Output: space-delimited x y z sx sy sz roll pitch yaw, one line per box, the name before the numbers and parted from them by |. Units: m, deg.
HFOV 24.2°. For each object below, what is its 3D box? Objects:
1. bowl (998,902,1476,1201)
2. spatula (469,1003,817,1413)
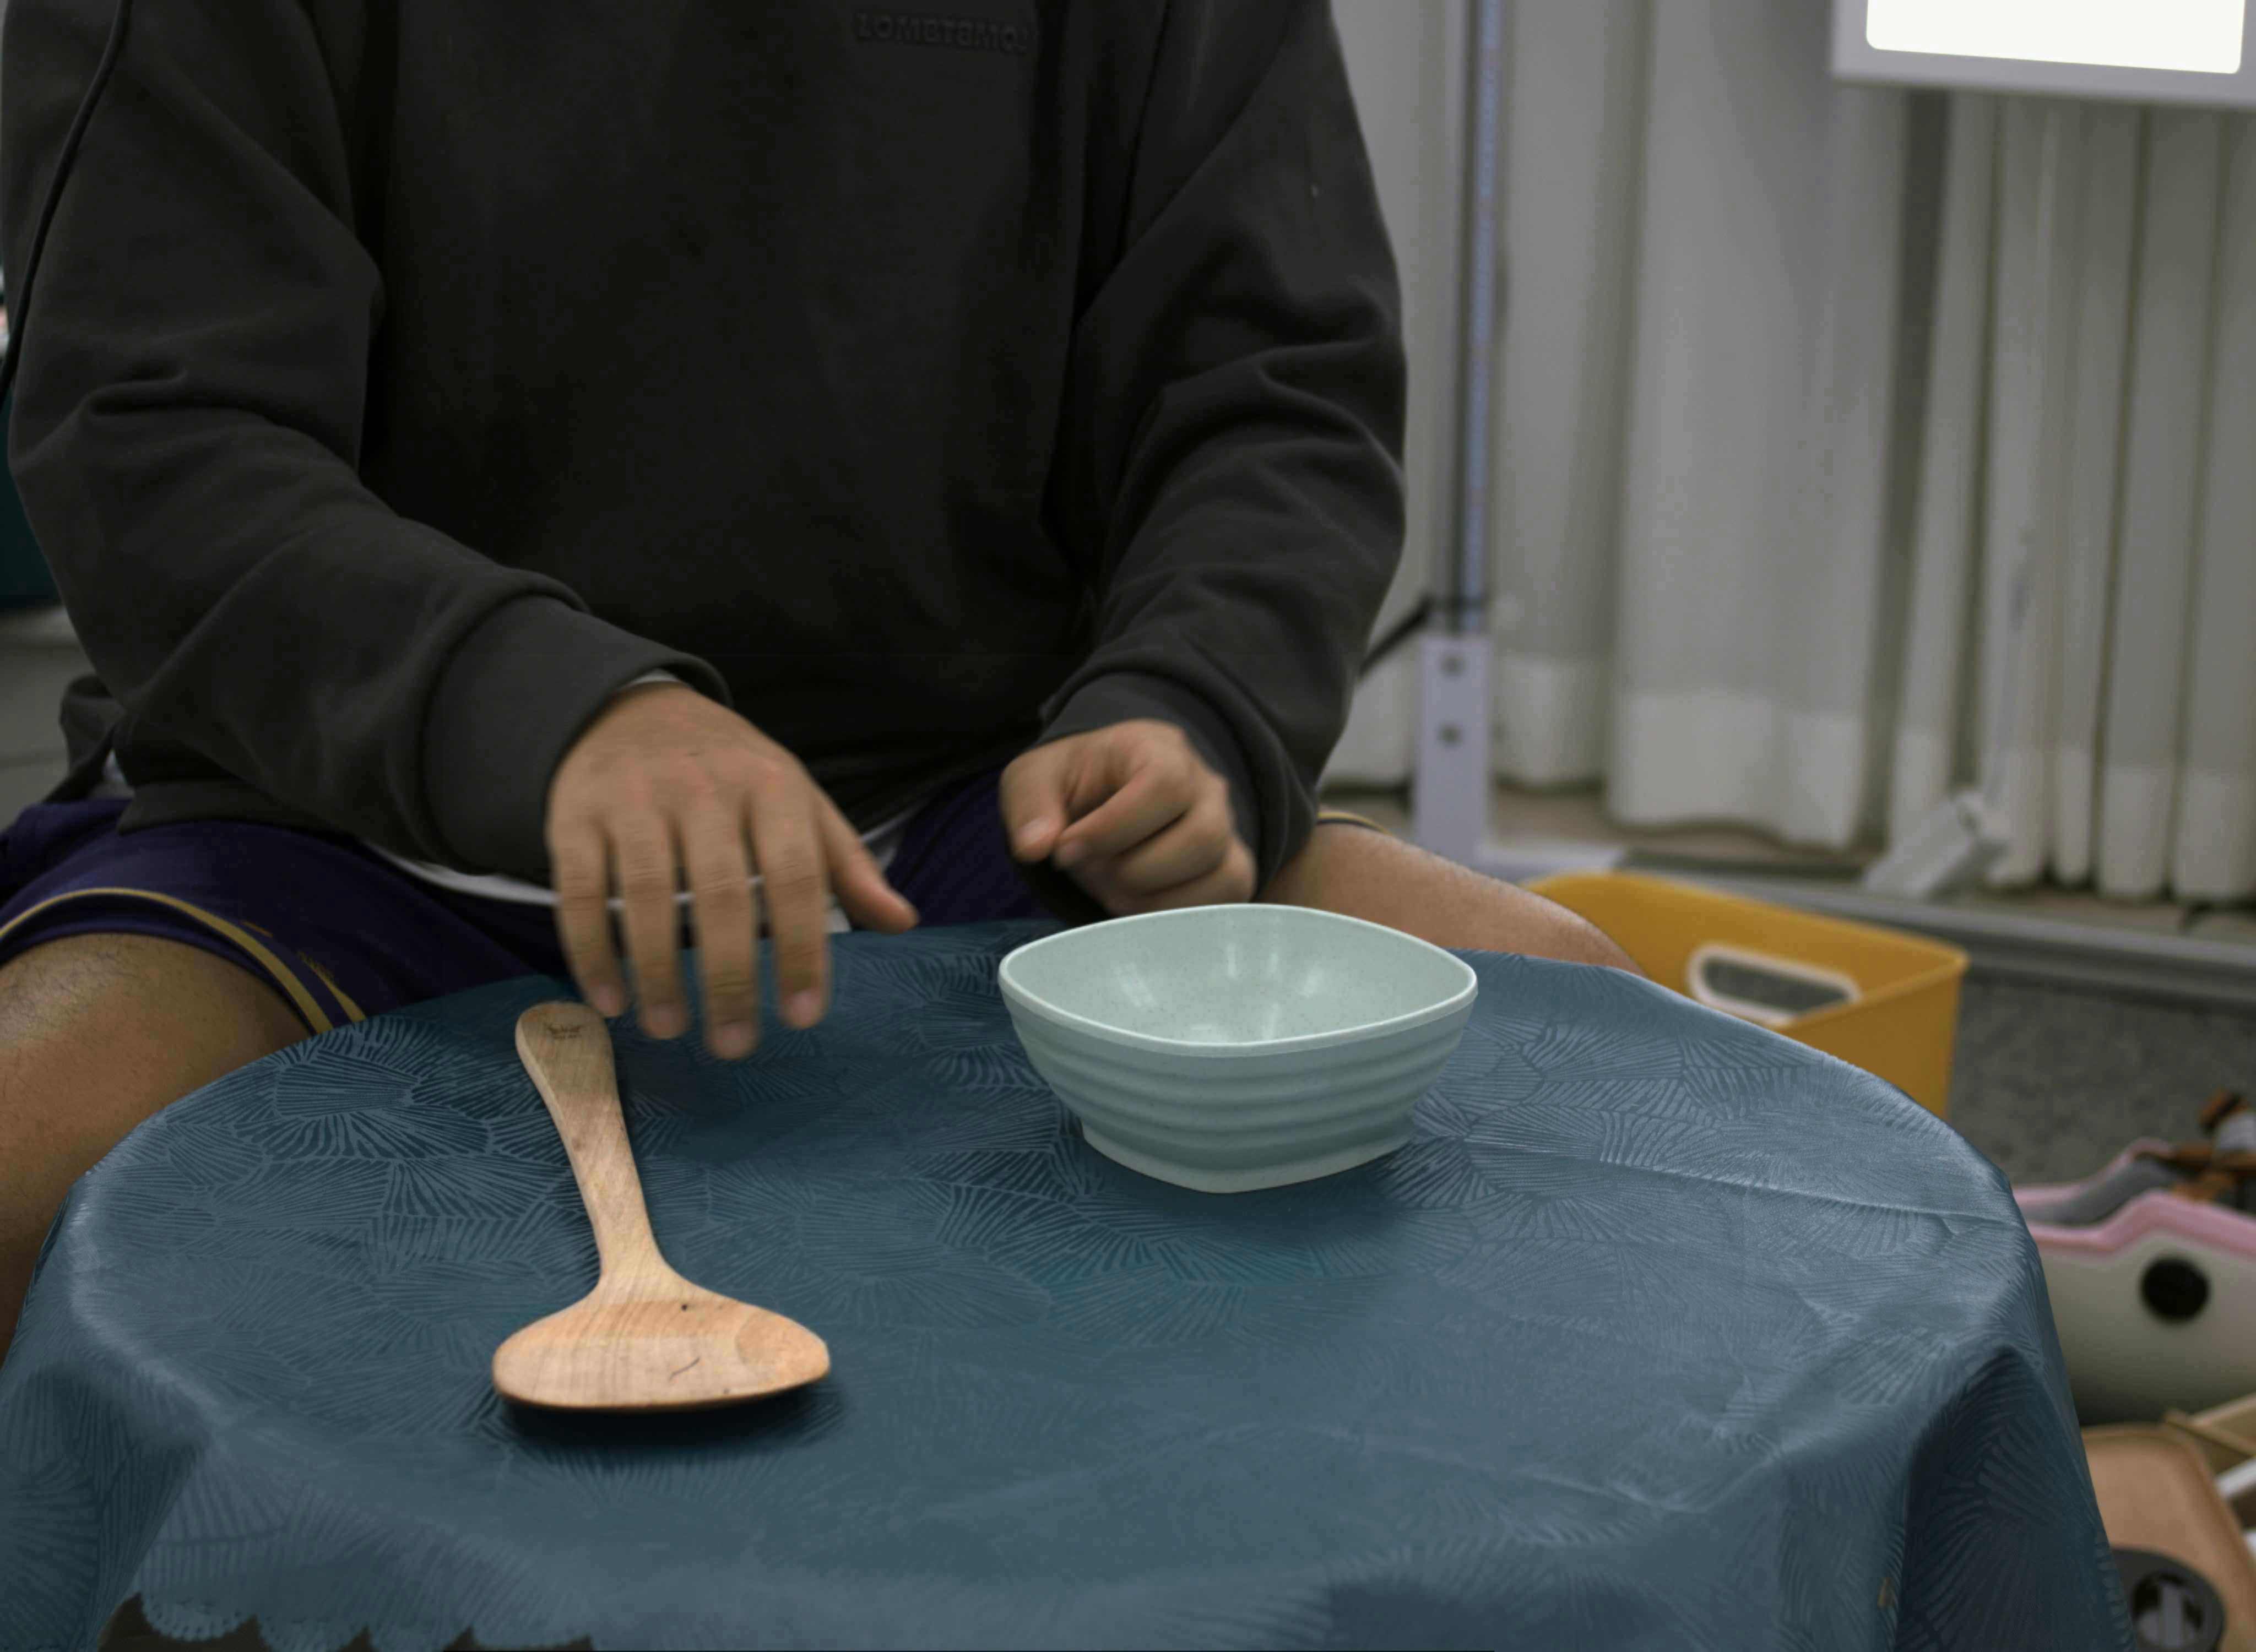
bowl | 0.034 0.074 1.660 0.151 0.059 0.150 2 17 0
spatula | -0.163 0.110 1.593 0.096 0.018 0.387 0 16 -11
